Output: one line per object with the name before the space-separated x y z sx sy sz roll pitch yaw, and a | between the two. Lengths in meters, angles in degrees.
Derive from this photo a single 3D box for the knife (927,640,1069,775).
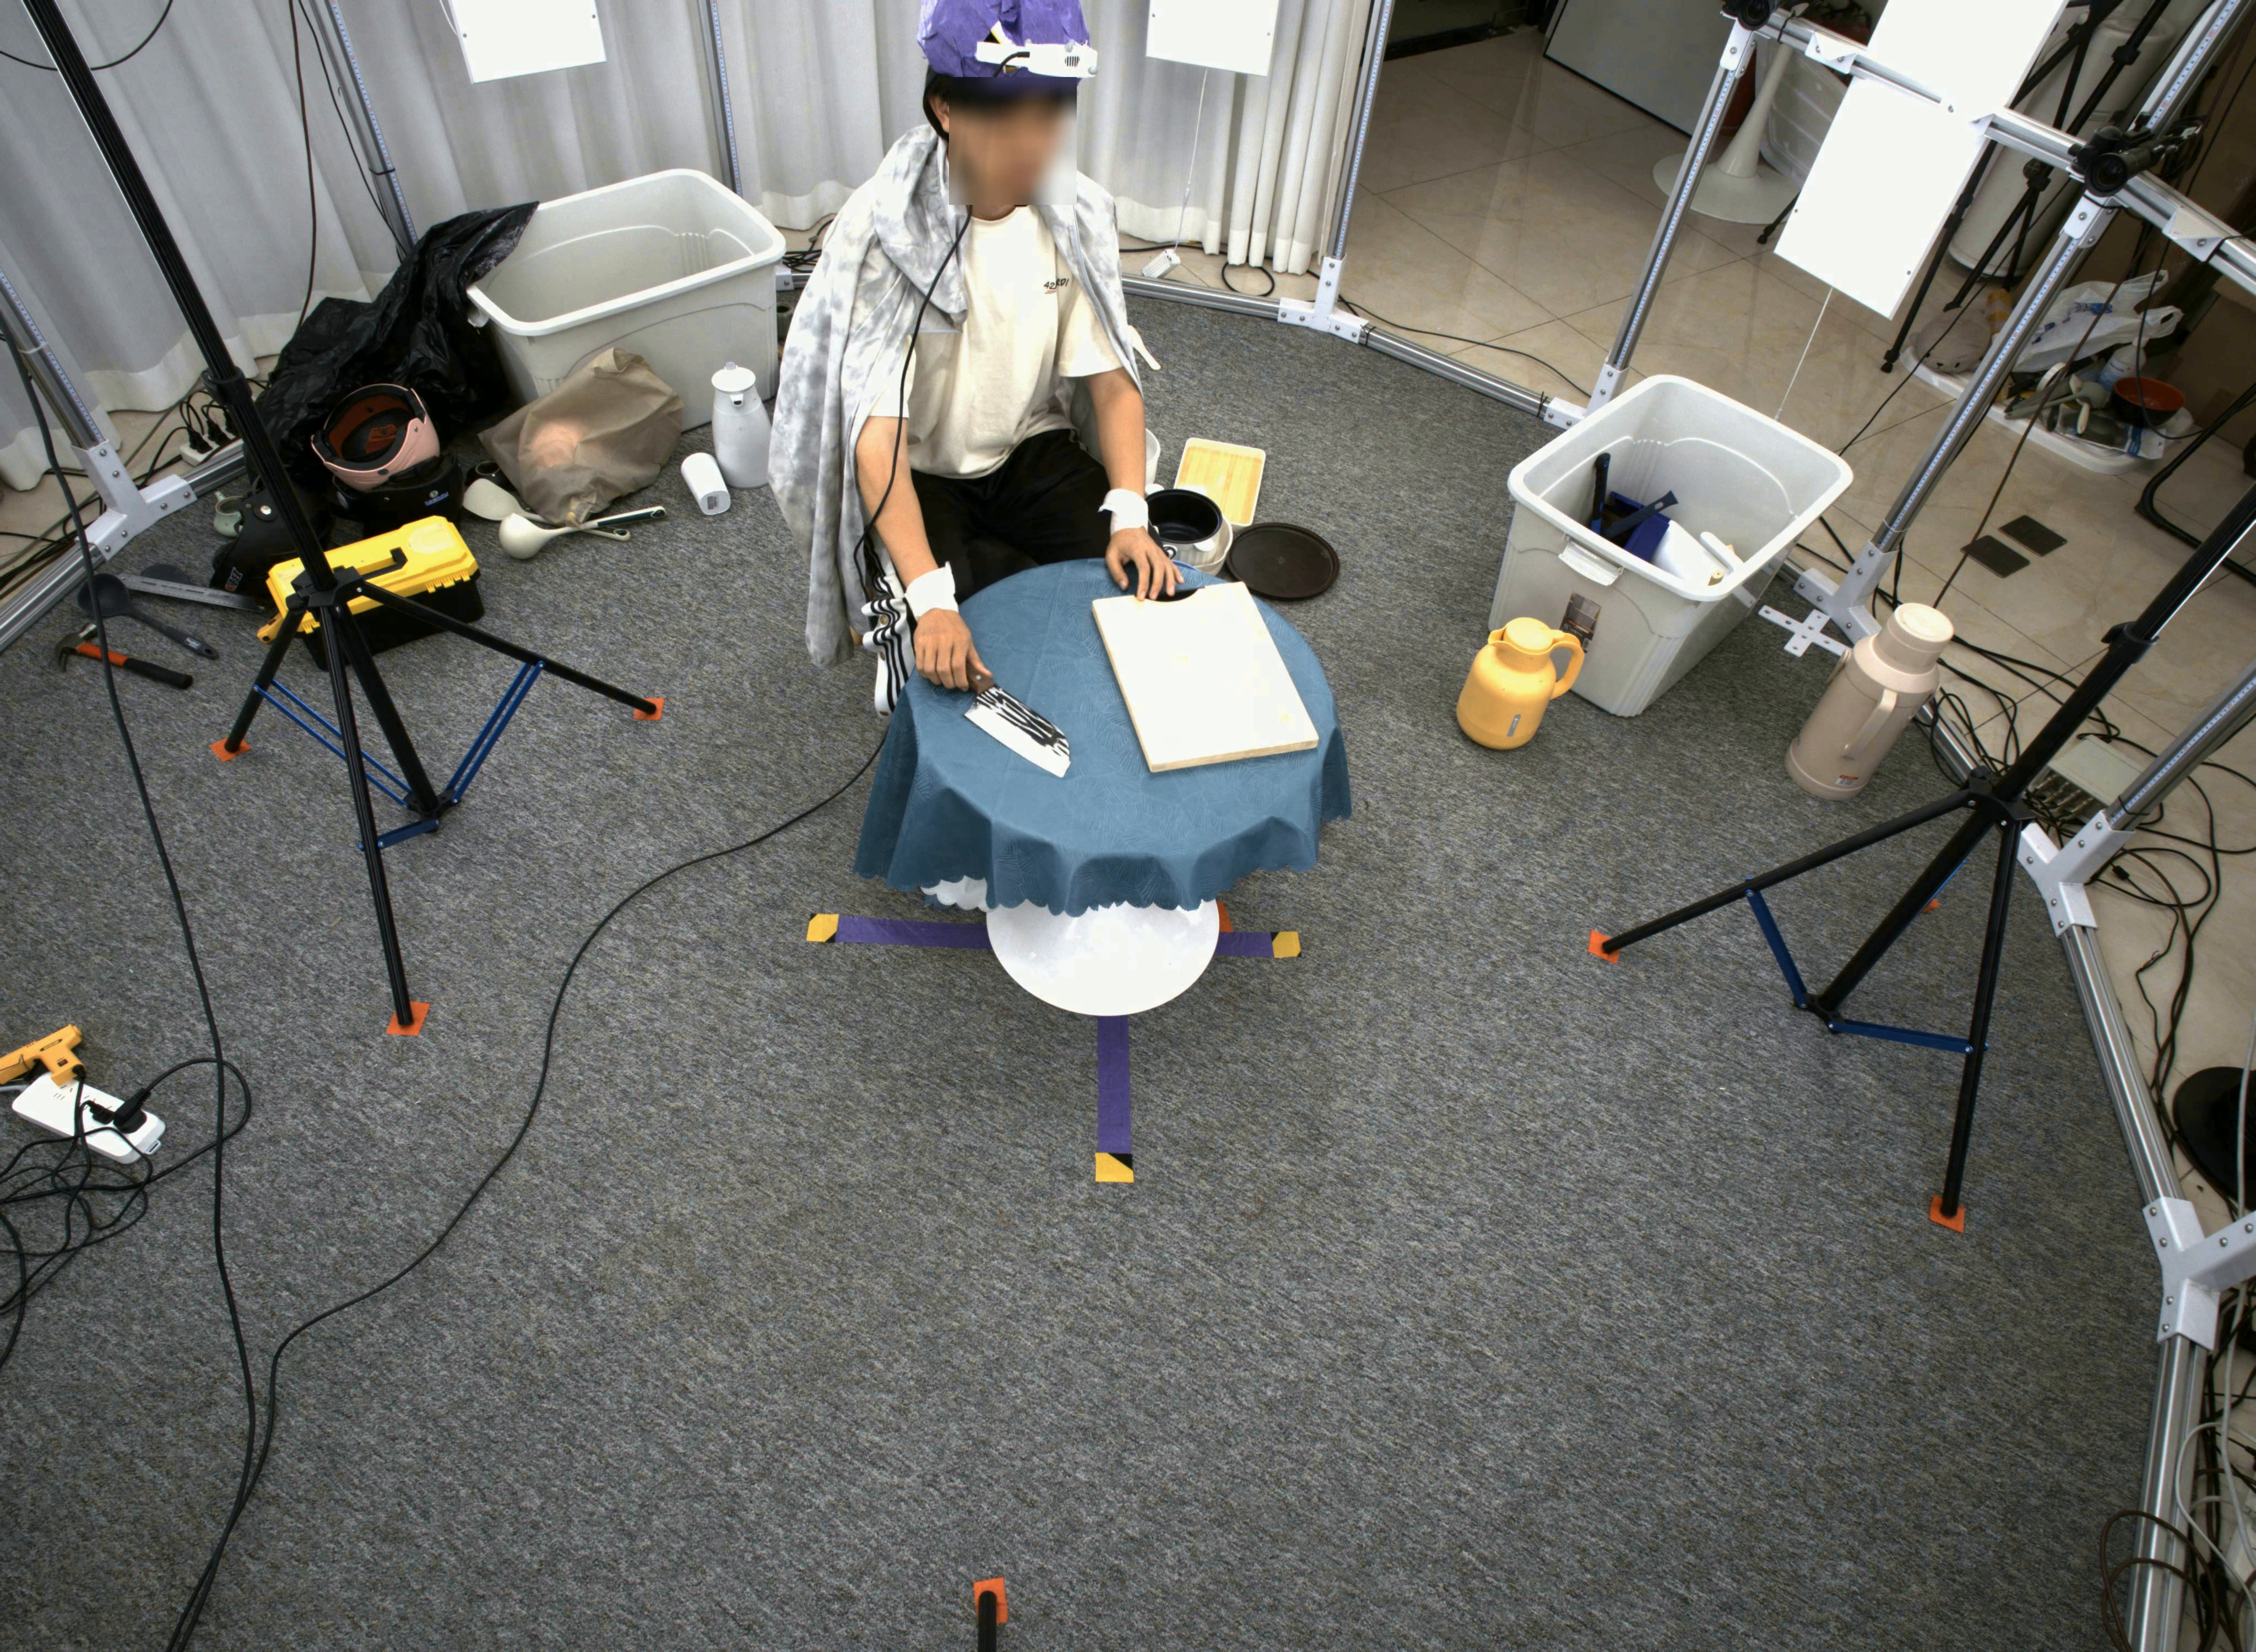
knife | -0.186 -0.165 1.778 0.303 0.023 0.069 37 62 23

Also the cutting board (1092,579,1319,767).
cutting board | 0.104 -0.228 1.856 0.250 0.023 0.357 -10 50 -12
